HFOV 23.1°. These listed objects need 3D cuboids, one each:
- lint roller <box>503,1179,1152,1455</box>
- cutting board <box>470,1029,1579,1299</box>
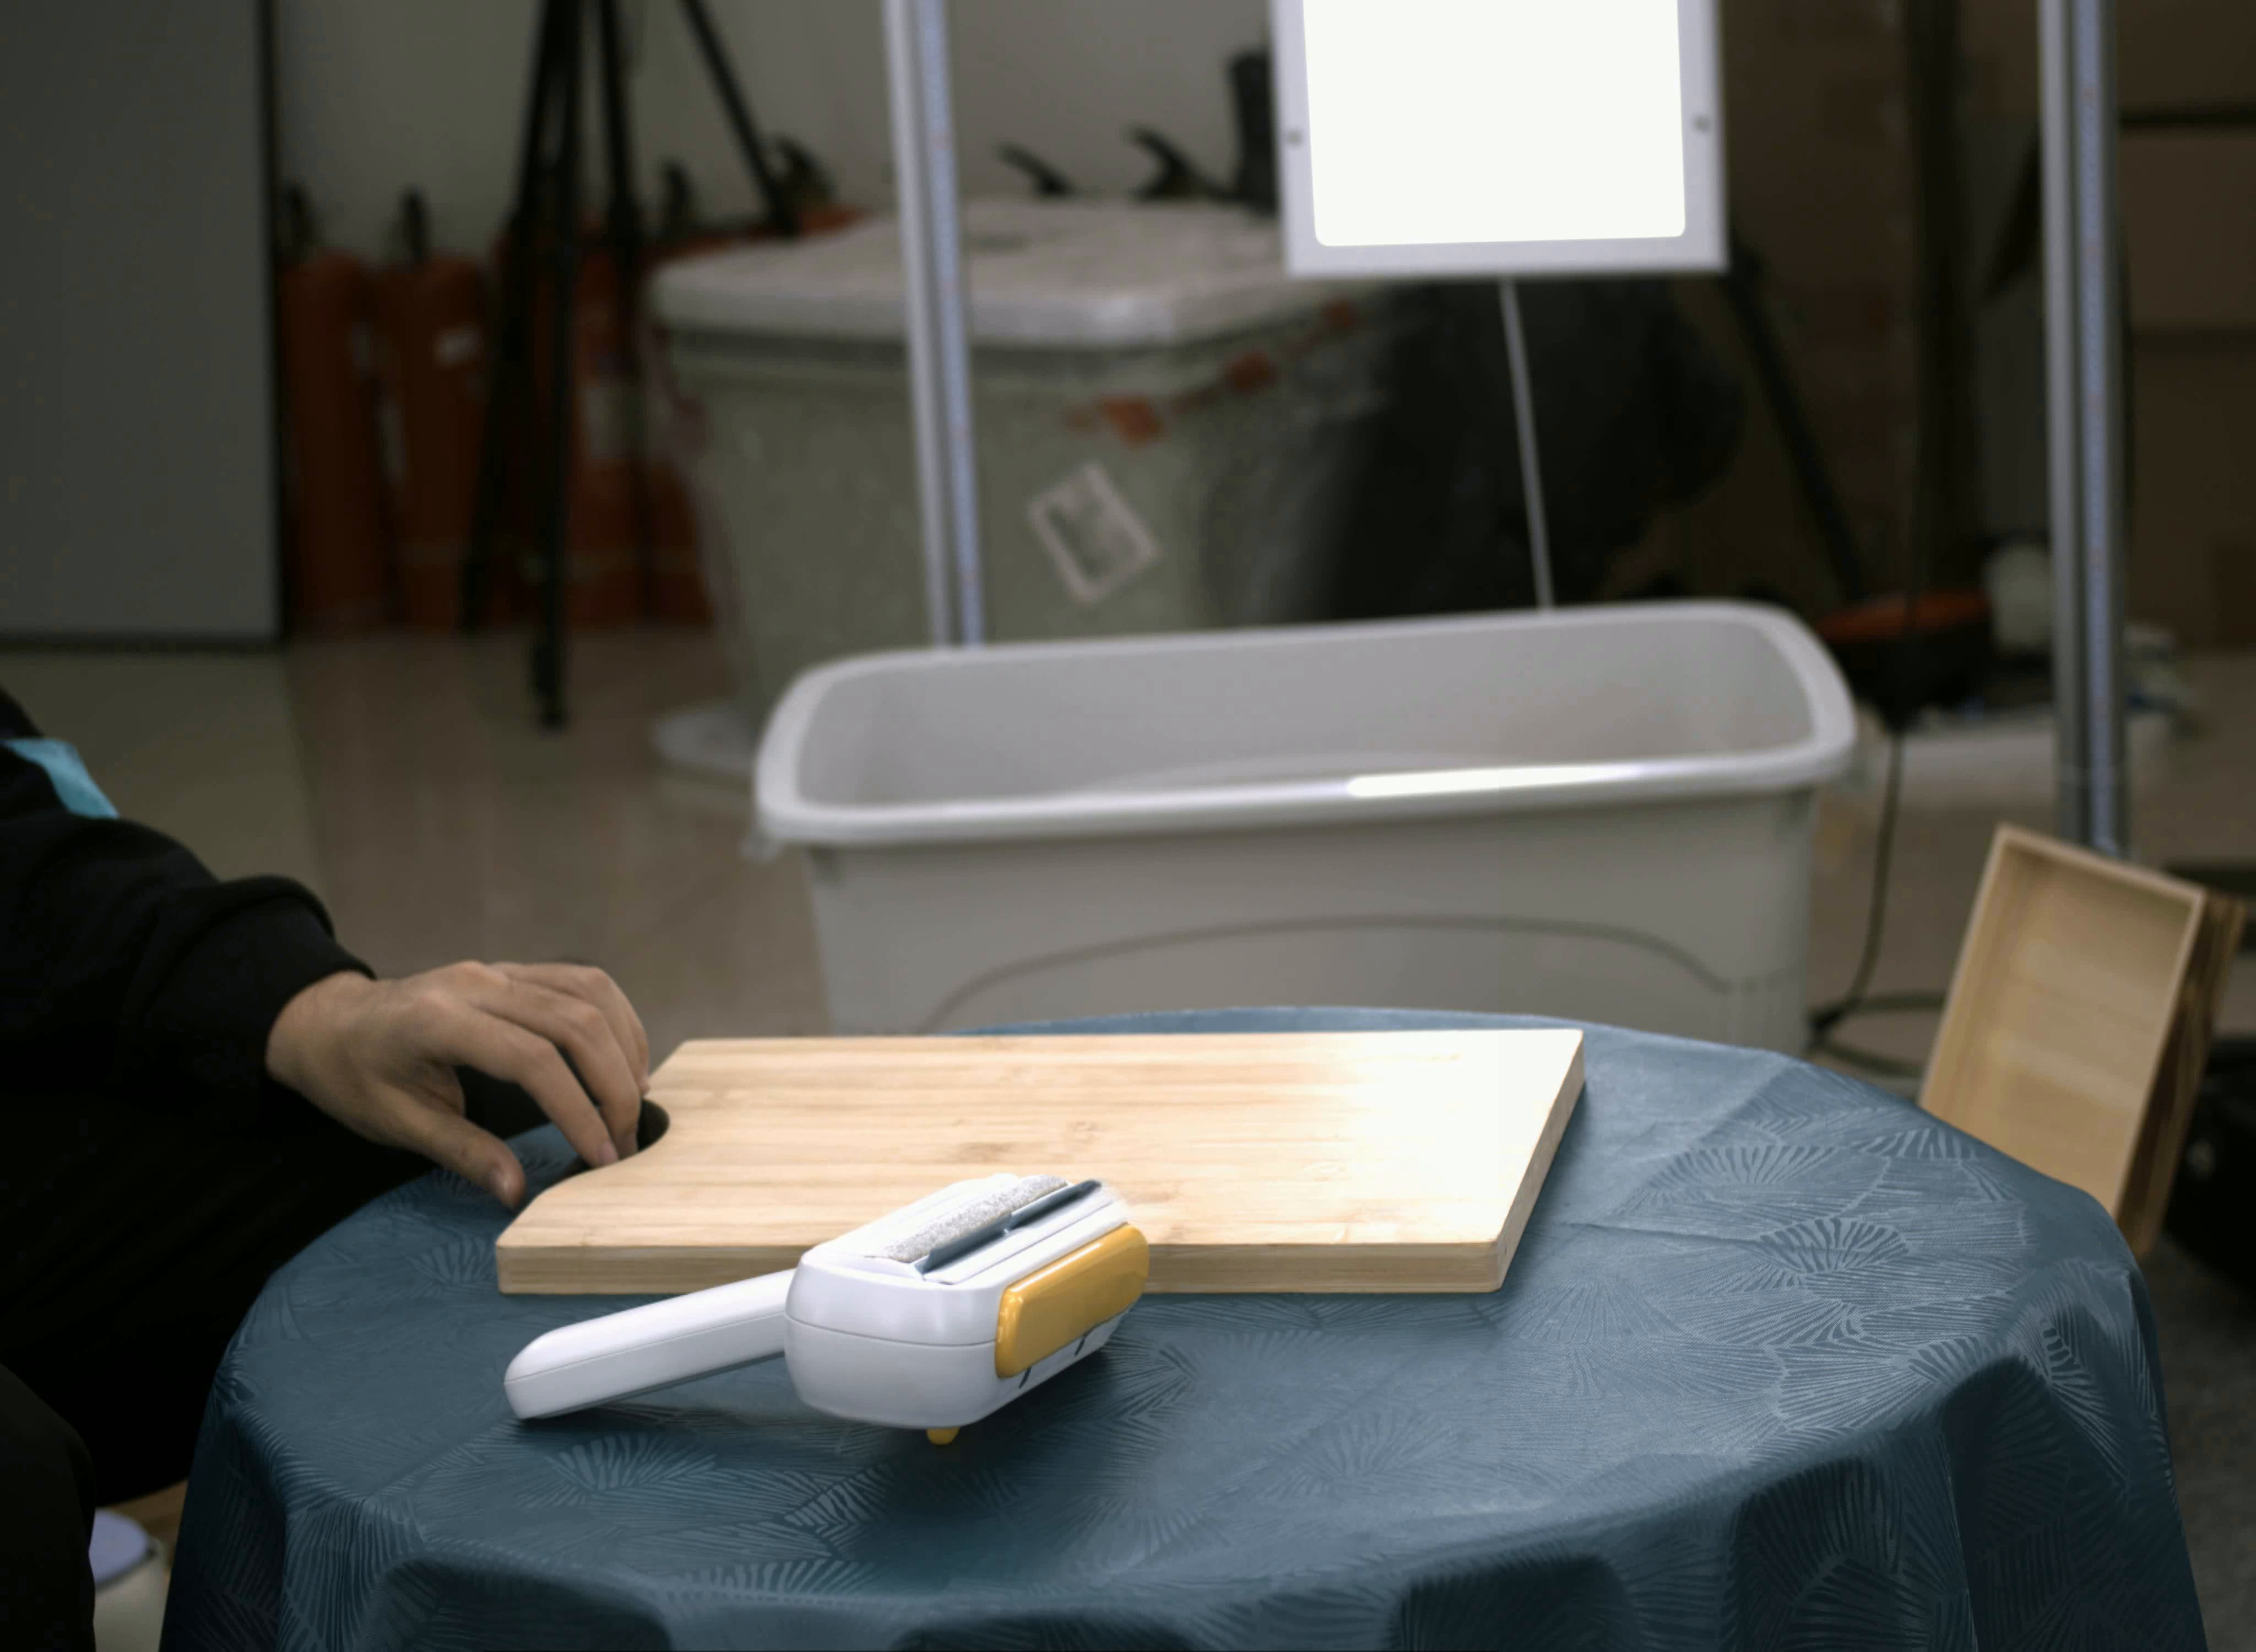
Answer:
[{"bbox_3d":[-0.105,0.152,1.690,0.195,0.074,0.189,-1,9,22],"label":"lint roller"},{"bbox_3d":[-0.028,0.117,1.914,0.351,0.023,0.247,-2,14,14],"label":"cutting board"}]
